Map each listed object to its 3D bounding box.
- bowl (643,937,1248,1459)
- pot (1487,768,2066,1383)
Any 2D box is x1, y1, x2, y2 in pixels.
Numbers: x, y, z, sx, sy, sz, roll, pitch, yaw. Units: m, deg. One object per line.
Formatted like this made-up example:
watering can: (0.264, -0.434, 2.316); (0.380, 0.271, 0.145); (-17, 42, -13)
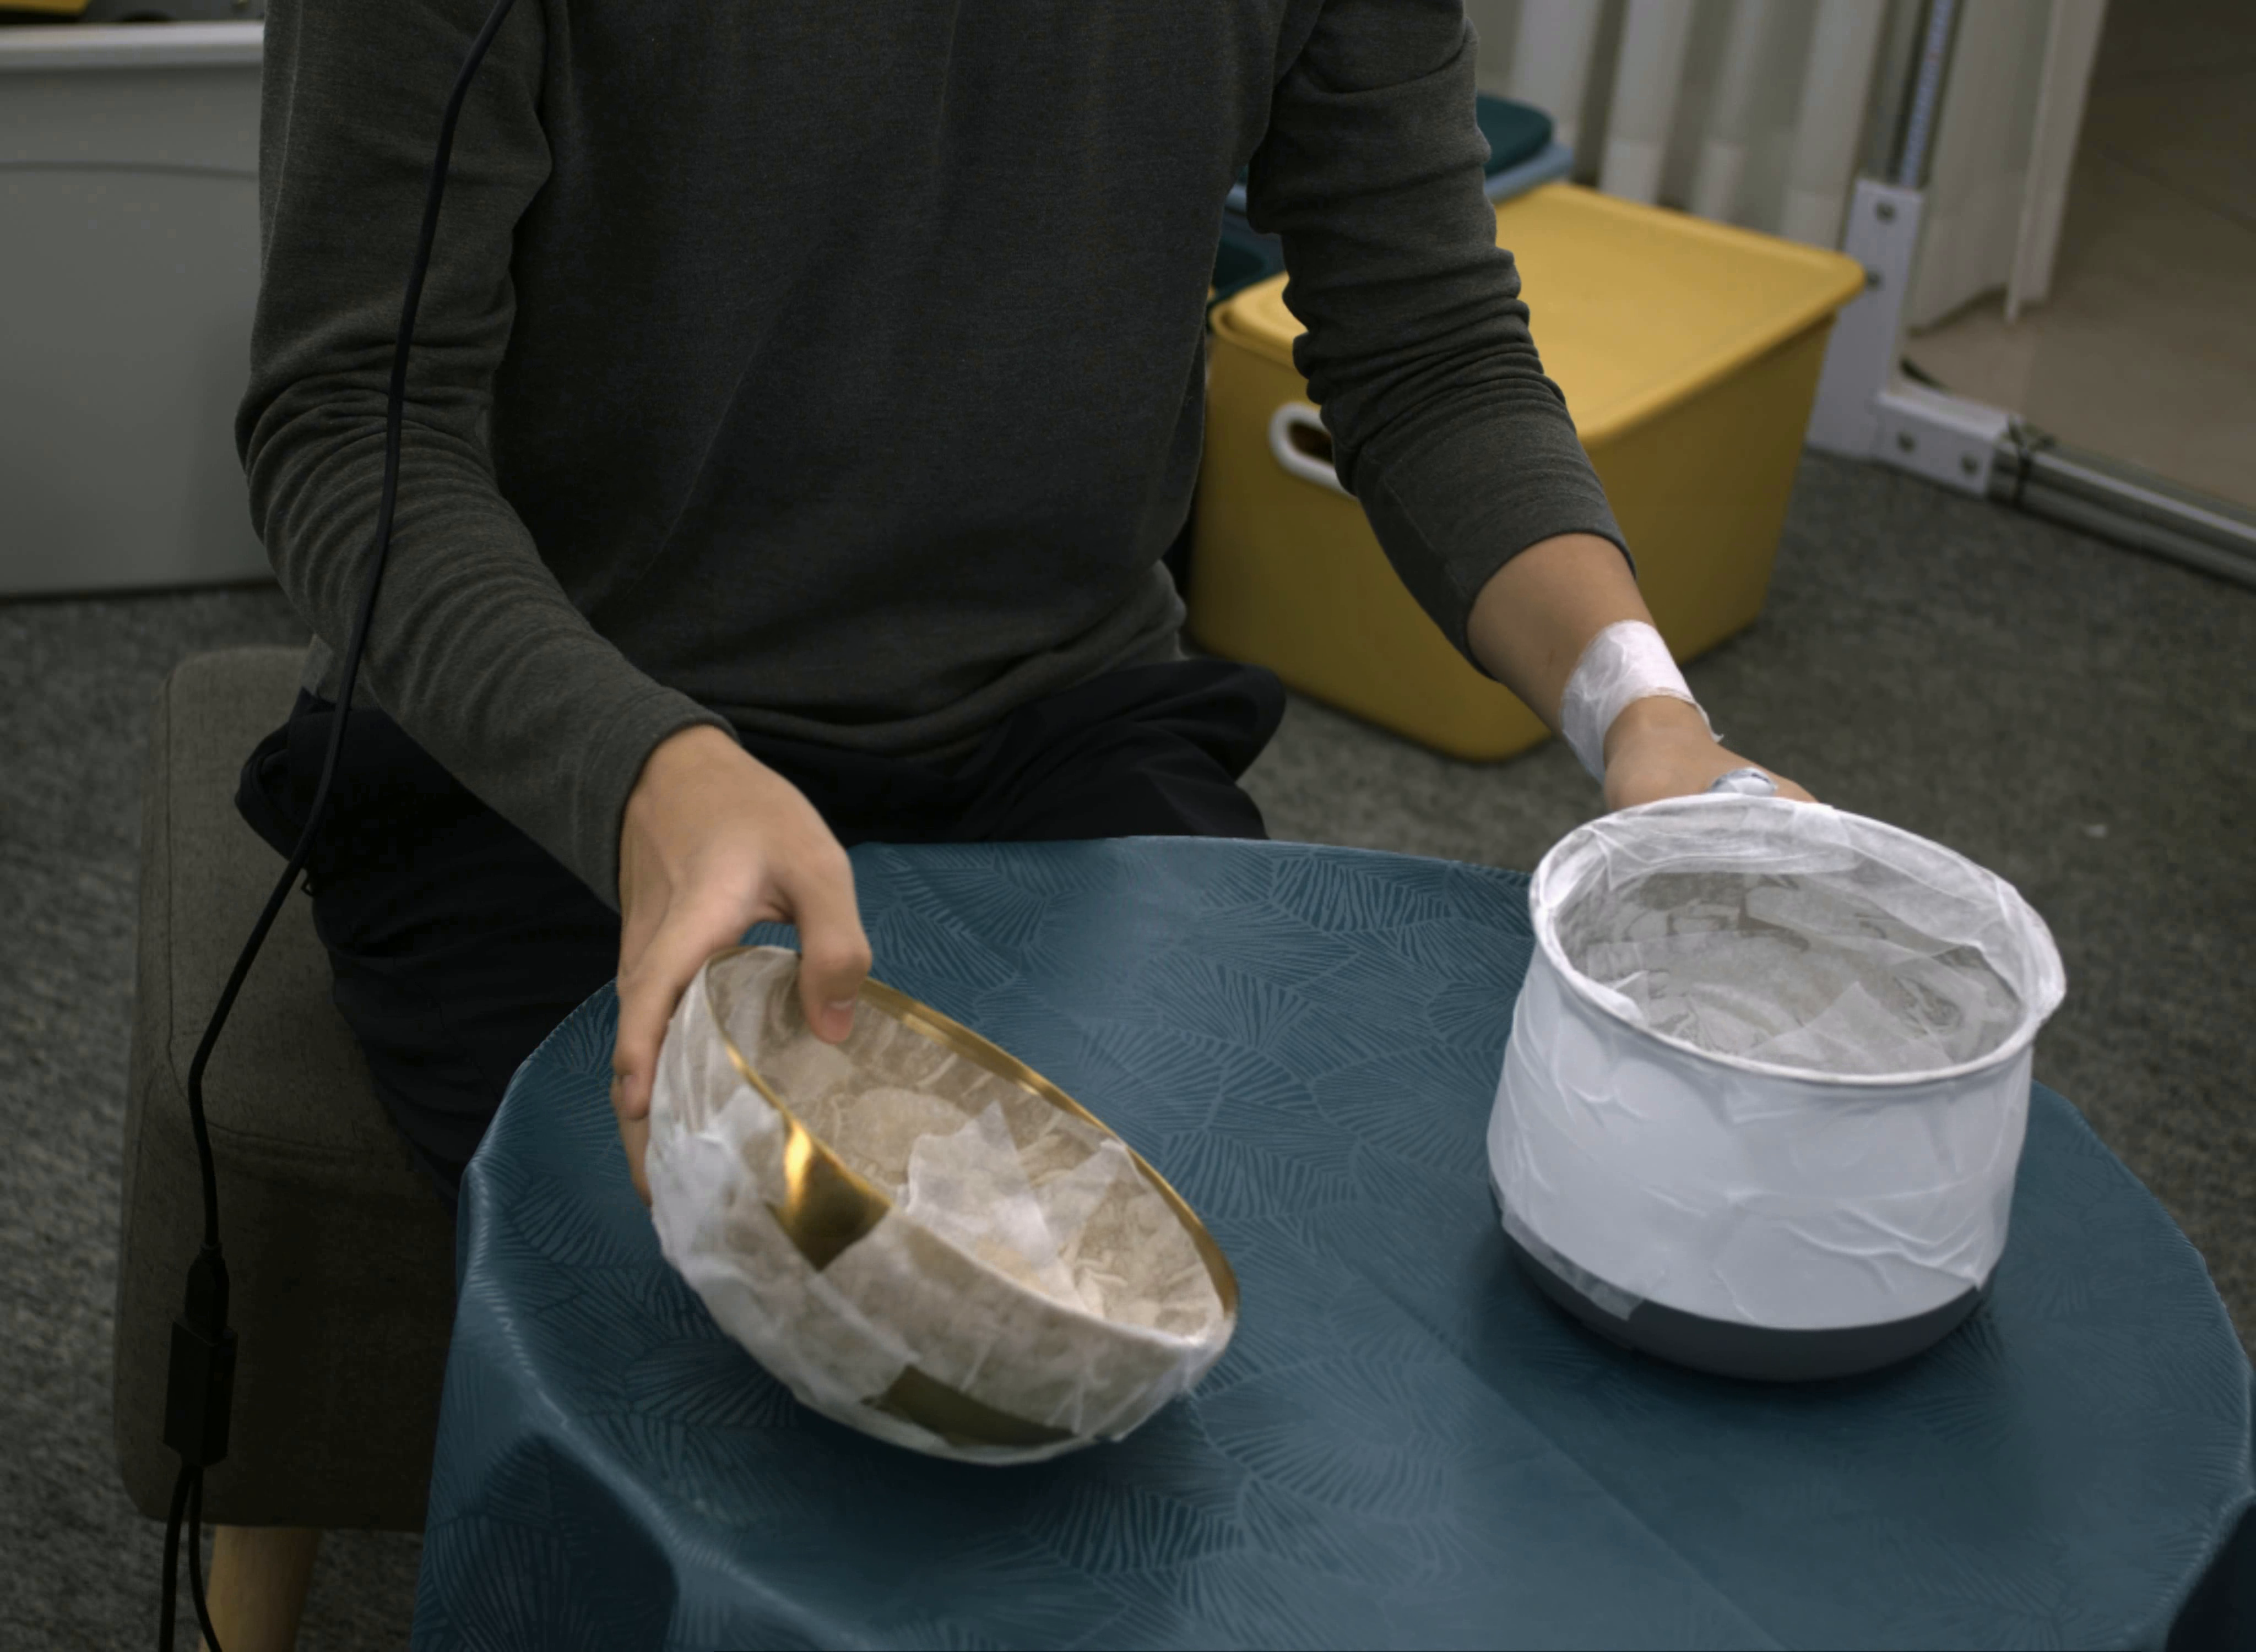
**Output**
bowl: (-0.072, 0.129, 1.648); (0.214, 0.094, 0.215); (30, 14, -9)
pot: (0.209, 0.076, 1.789); (0.178, 0.136, 0.235); (3, 29, -6)
